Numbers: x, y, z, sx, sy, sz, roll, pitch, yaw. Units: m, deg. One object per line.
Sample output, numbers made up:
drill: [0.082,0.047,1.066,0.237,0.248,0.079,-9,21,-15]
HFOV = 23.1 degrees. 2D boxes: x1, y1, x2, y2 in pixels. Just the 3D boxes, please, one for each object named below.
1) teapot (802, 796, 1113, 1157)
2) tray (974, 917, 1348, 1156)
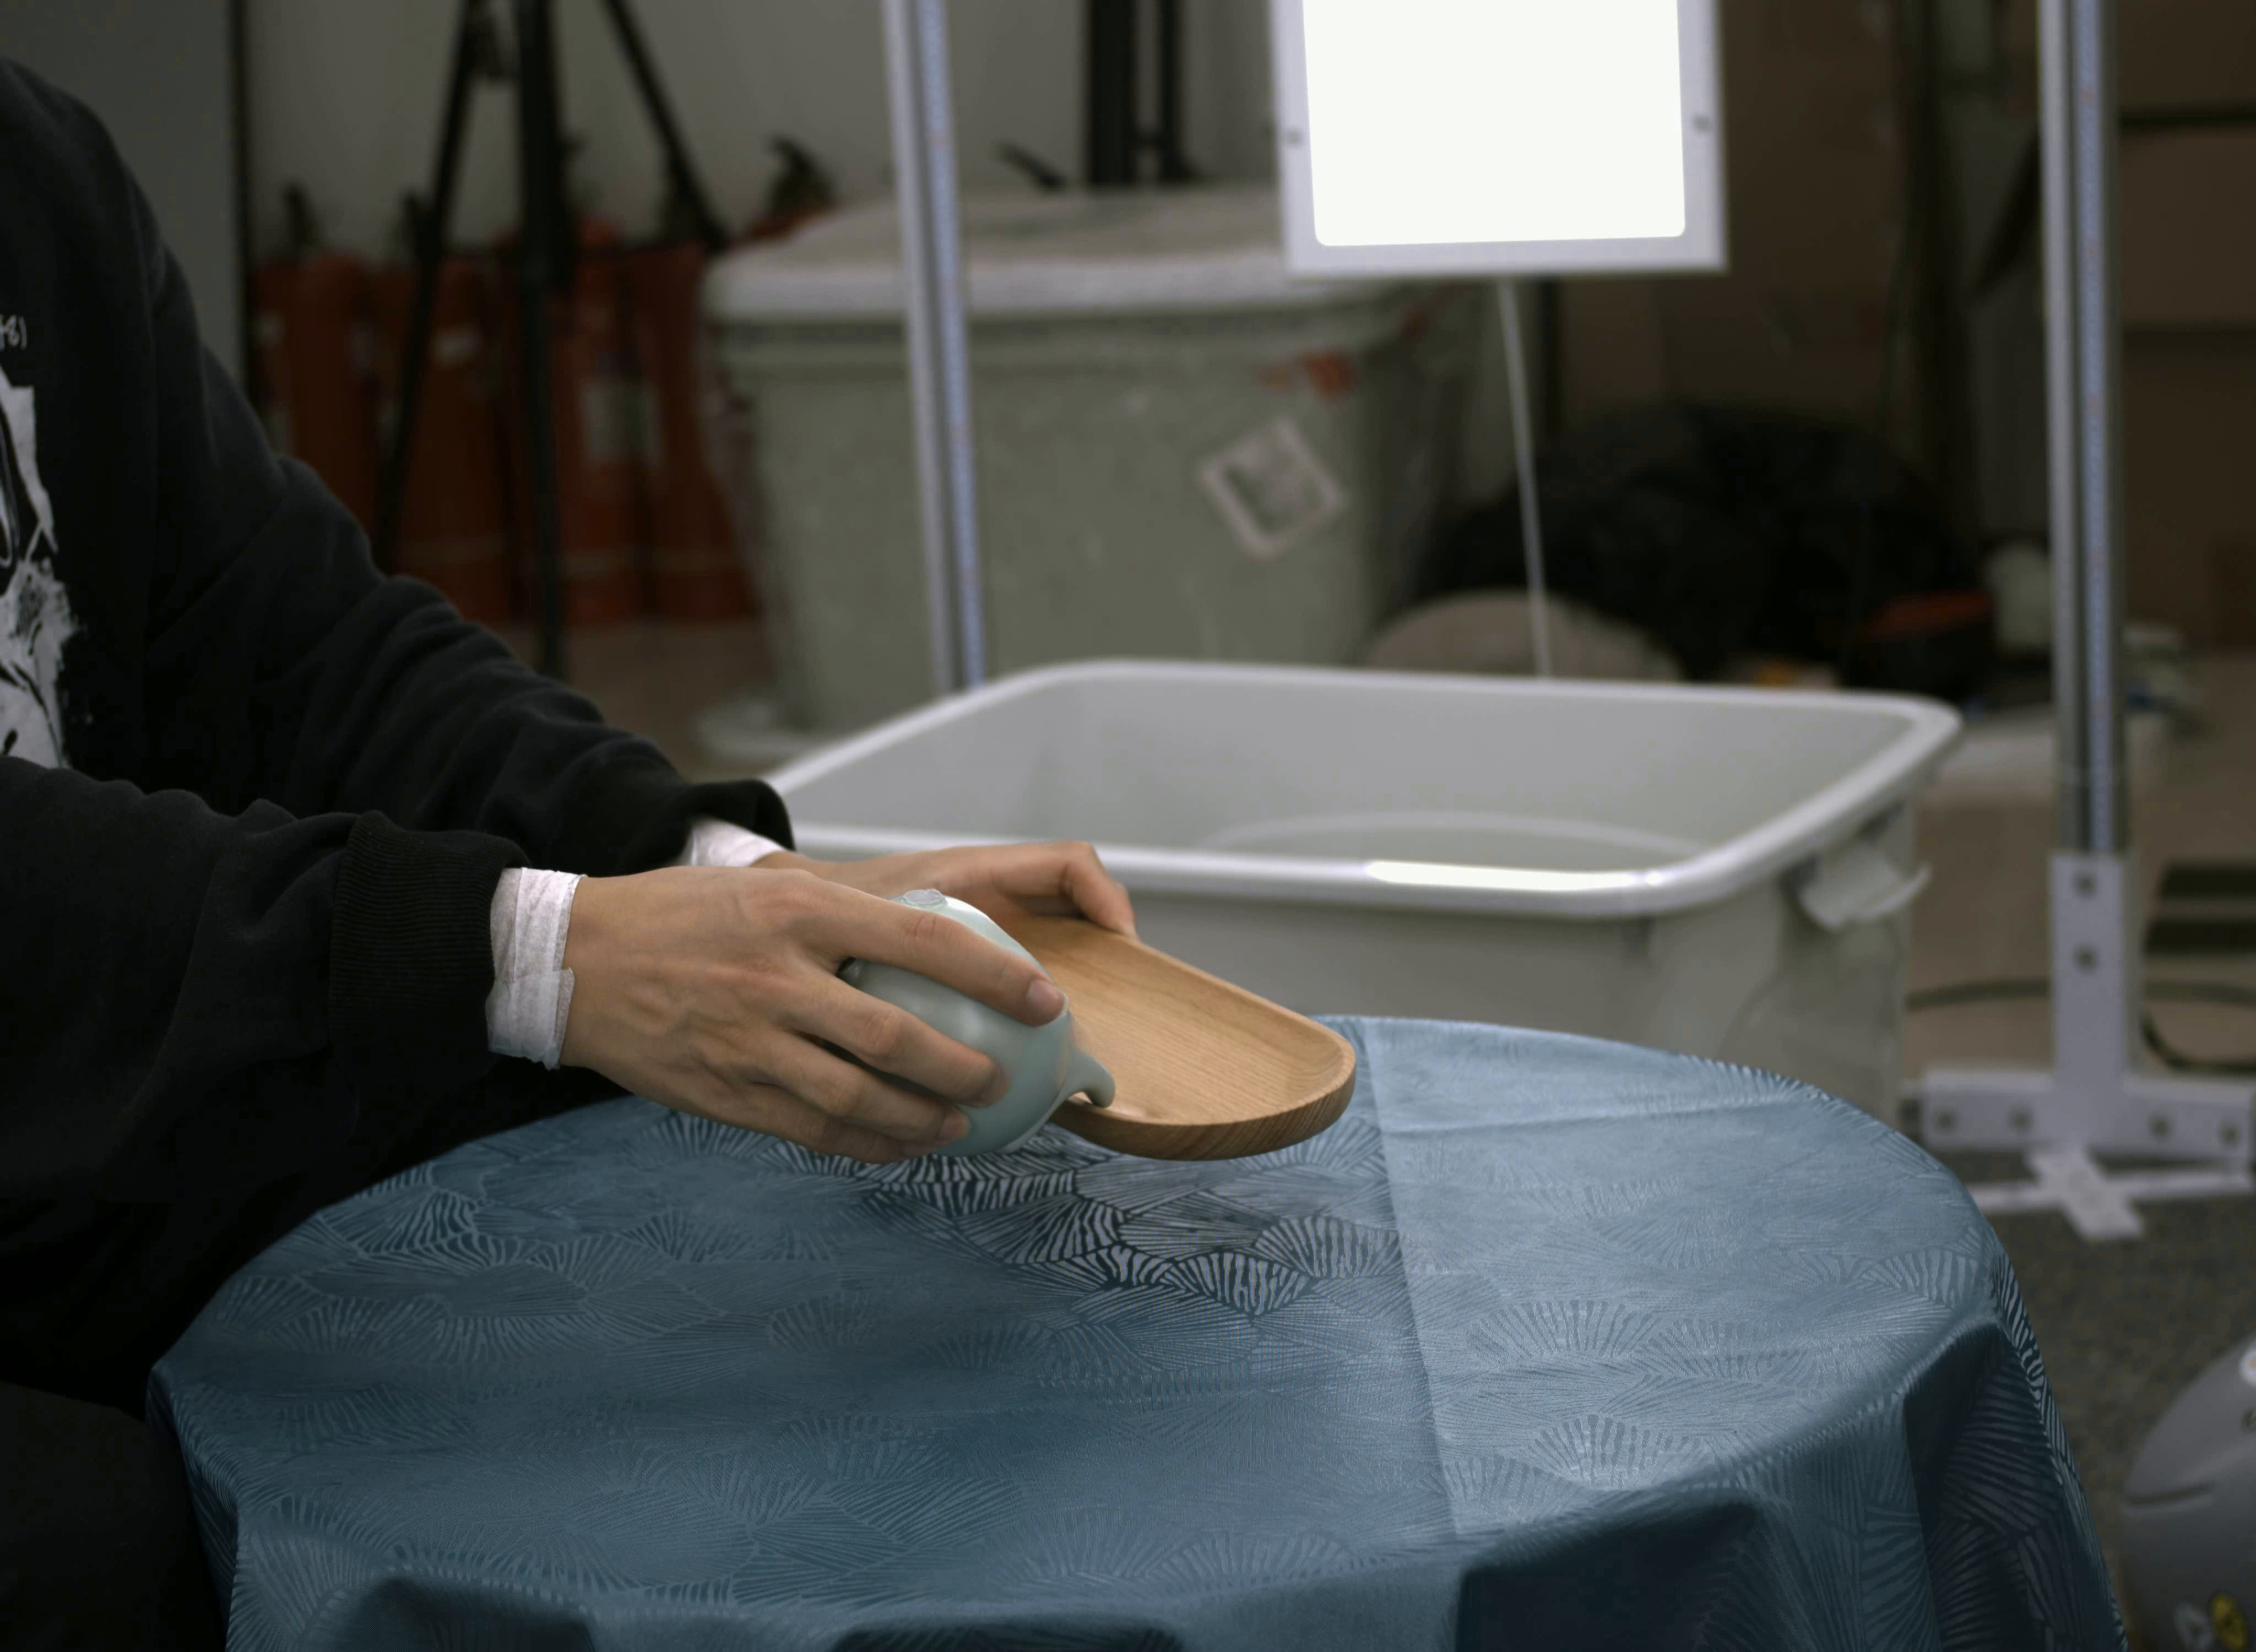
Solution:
teapot: [-0.060,0.062,1.753,0.074,0.142,0.090,-46,33,-19]
tray: [-0.014,0.070,1.876,0.099,0.020,0.235,-15,20,-31]
